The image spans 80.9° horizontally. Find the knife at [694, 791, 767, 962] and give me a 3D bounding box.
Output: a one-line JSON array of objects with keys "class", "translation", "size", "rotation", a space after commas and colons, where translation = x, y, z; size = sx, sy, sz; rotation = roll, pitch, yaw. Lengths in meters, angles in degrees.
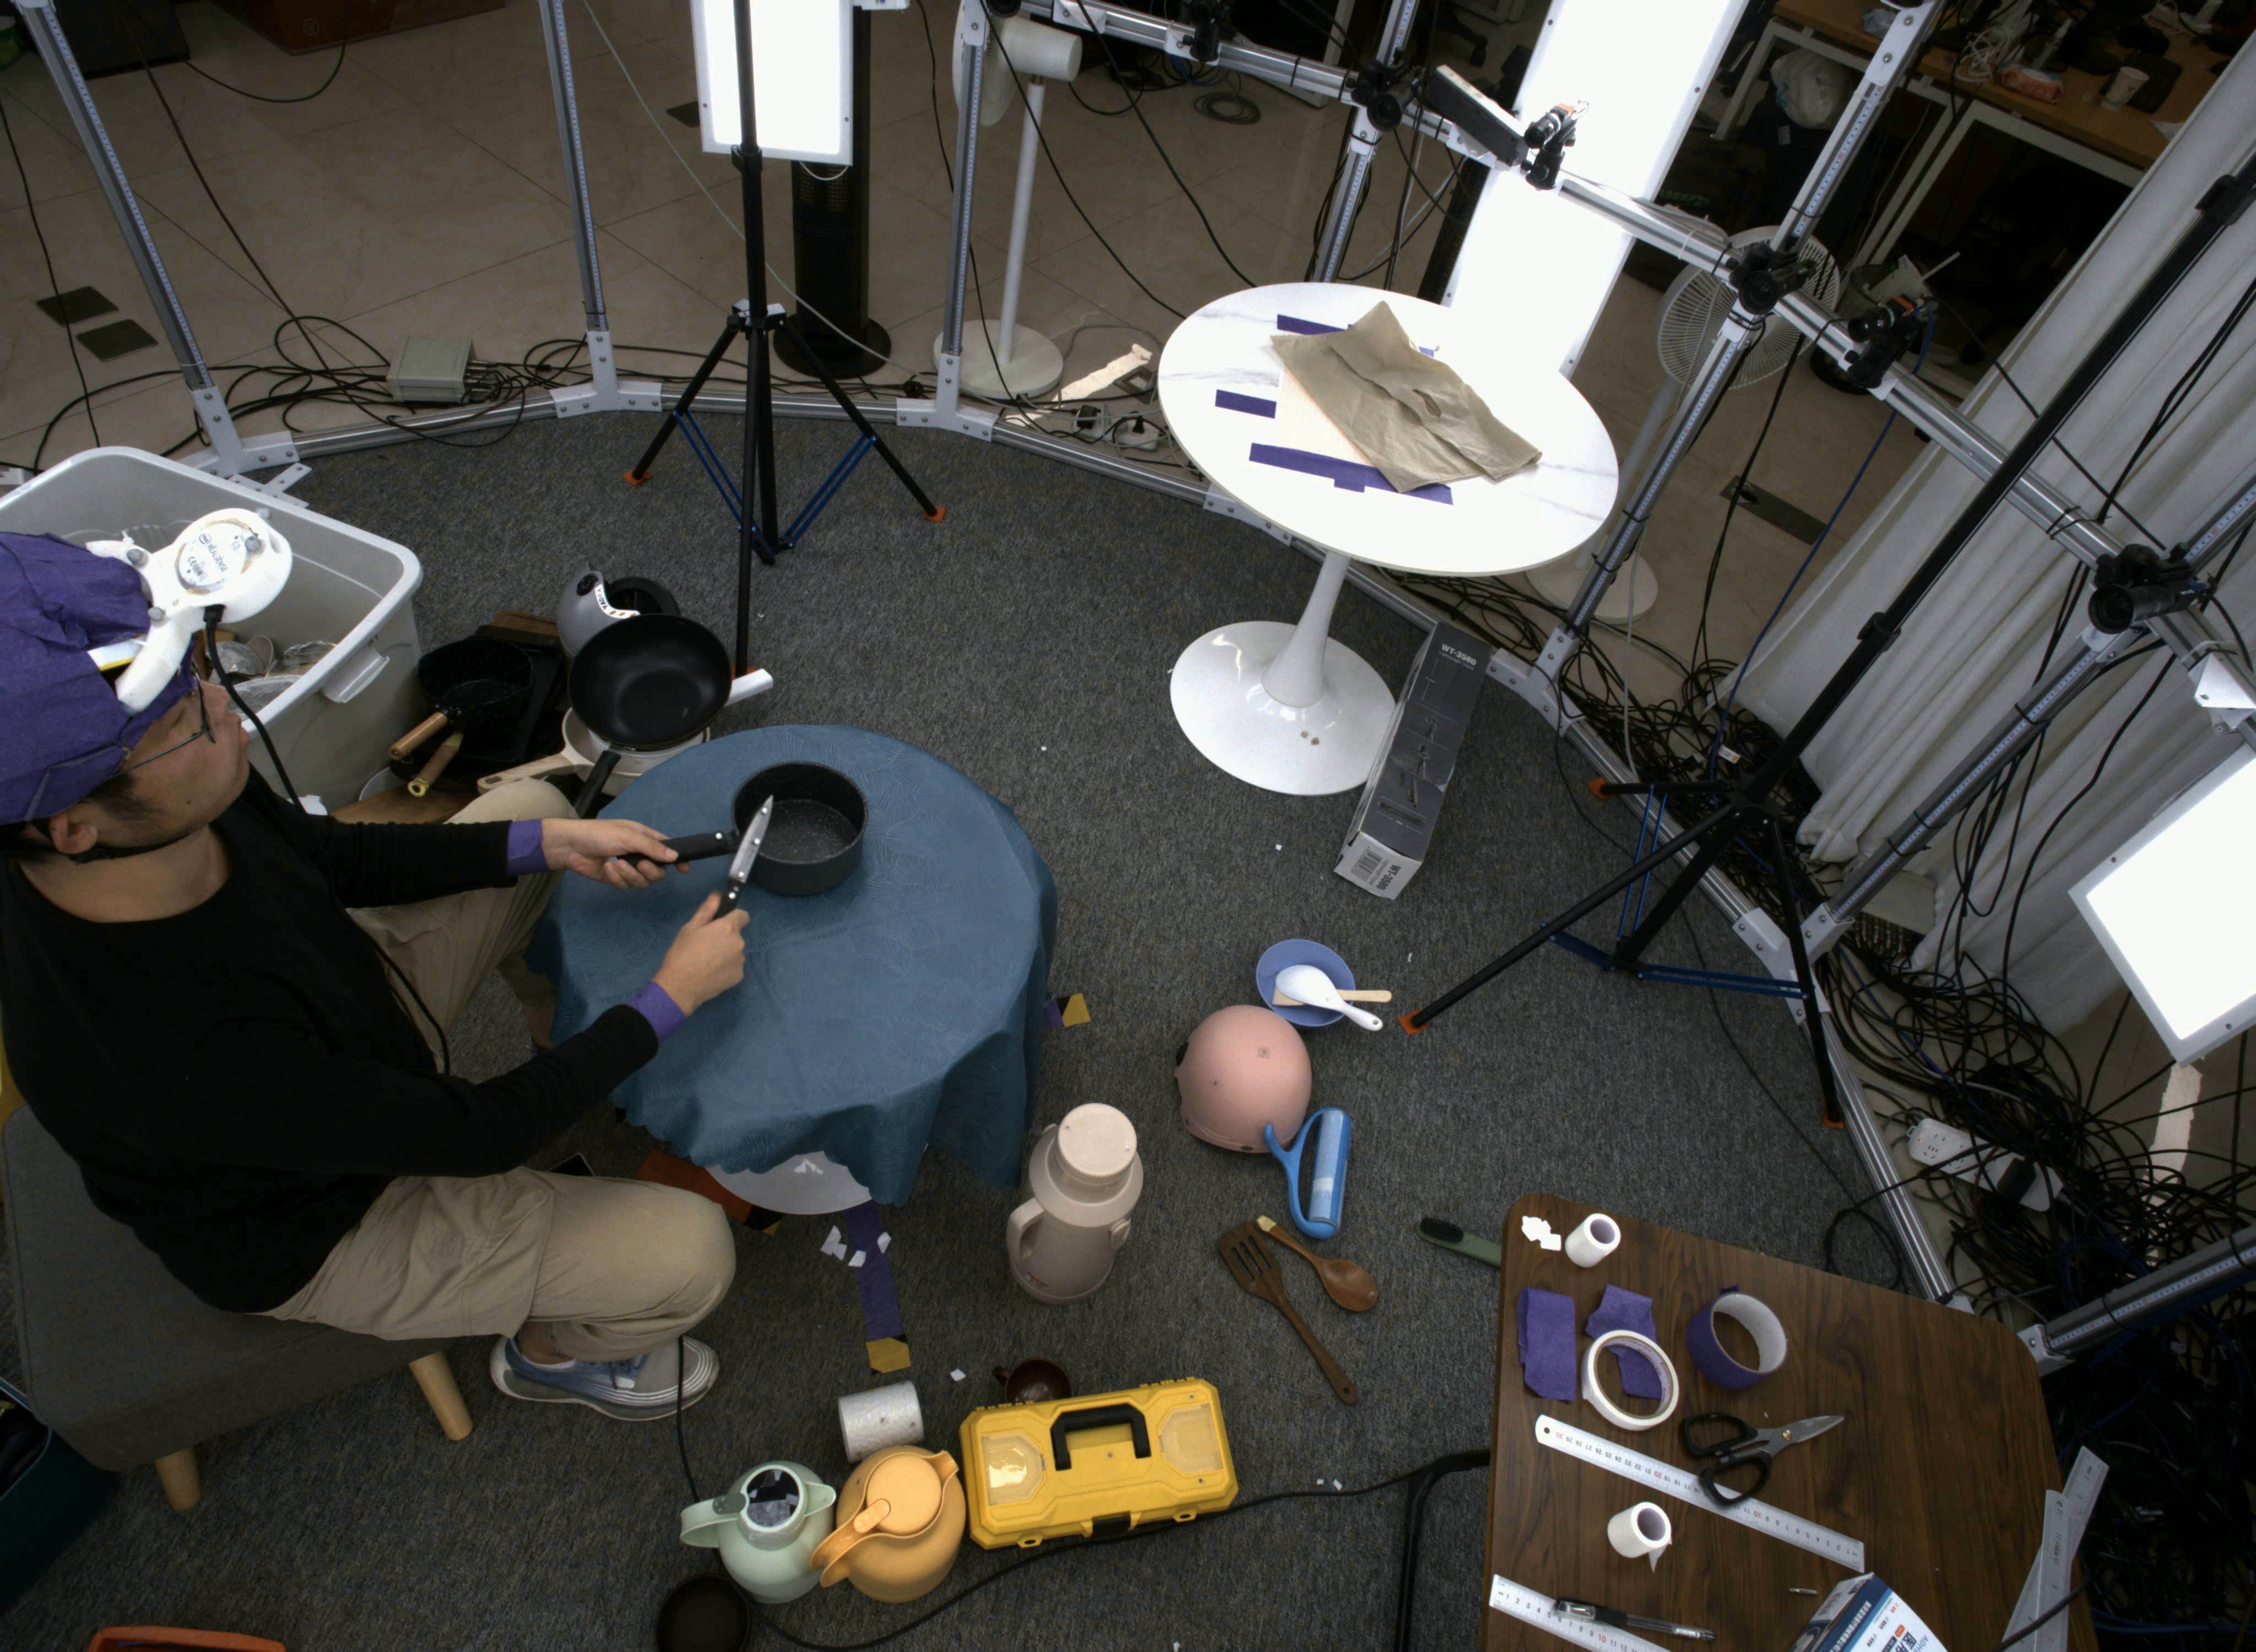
[{"class": "knife", "translation": [-0.473, 0.056, 1.558], "size": [0.025, 0.016, 0.236], "rotation": [28, 56, -25]}]

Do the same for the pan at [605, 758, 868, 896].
[{"class": "pan", "translation": [-0.490, 0.019, 1.627], "size": [0.331, 0.088, 0.167], "rotation": [-14, 57, -28]}]
